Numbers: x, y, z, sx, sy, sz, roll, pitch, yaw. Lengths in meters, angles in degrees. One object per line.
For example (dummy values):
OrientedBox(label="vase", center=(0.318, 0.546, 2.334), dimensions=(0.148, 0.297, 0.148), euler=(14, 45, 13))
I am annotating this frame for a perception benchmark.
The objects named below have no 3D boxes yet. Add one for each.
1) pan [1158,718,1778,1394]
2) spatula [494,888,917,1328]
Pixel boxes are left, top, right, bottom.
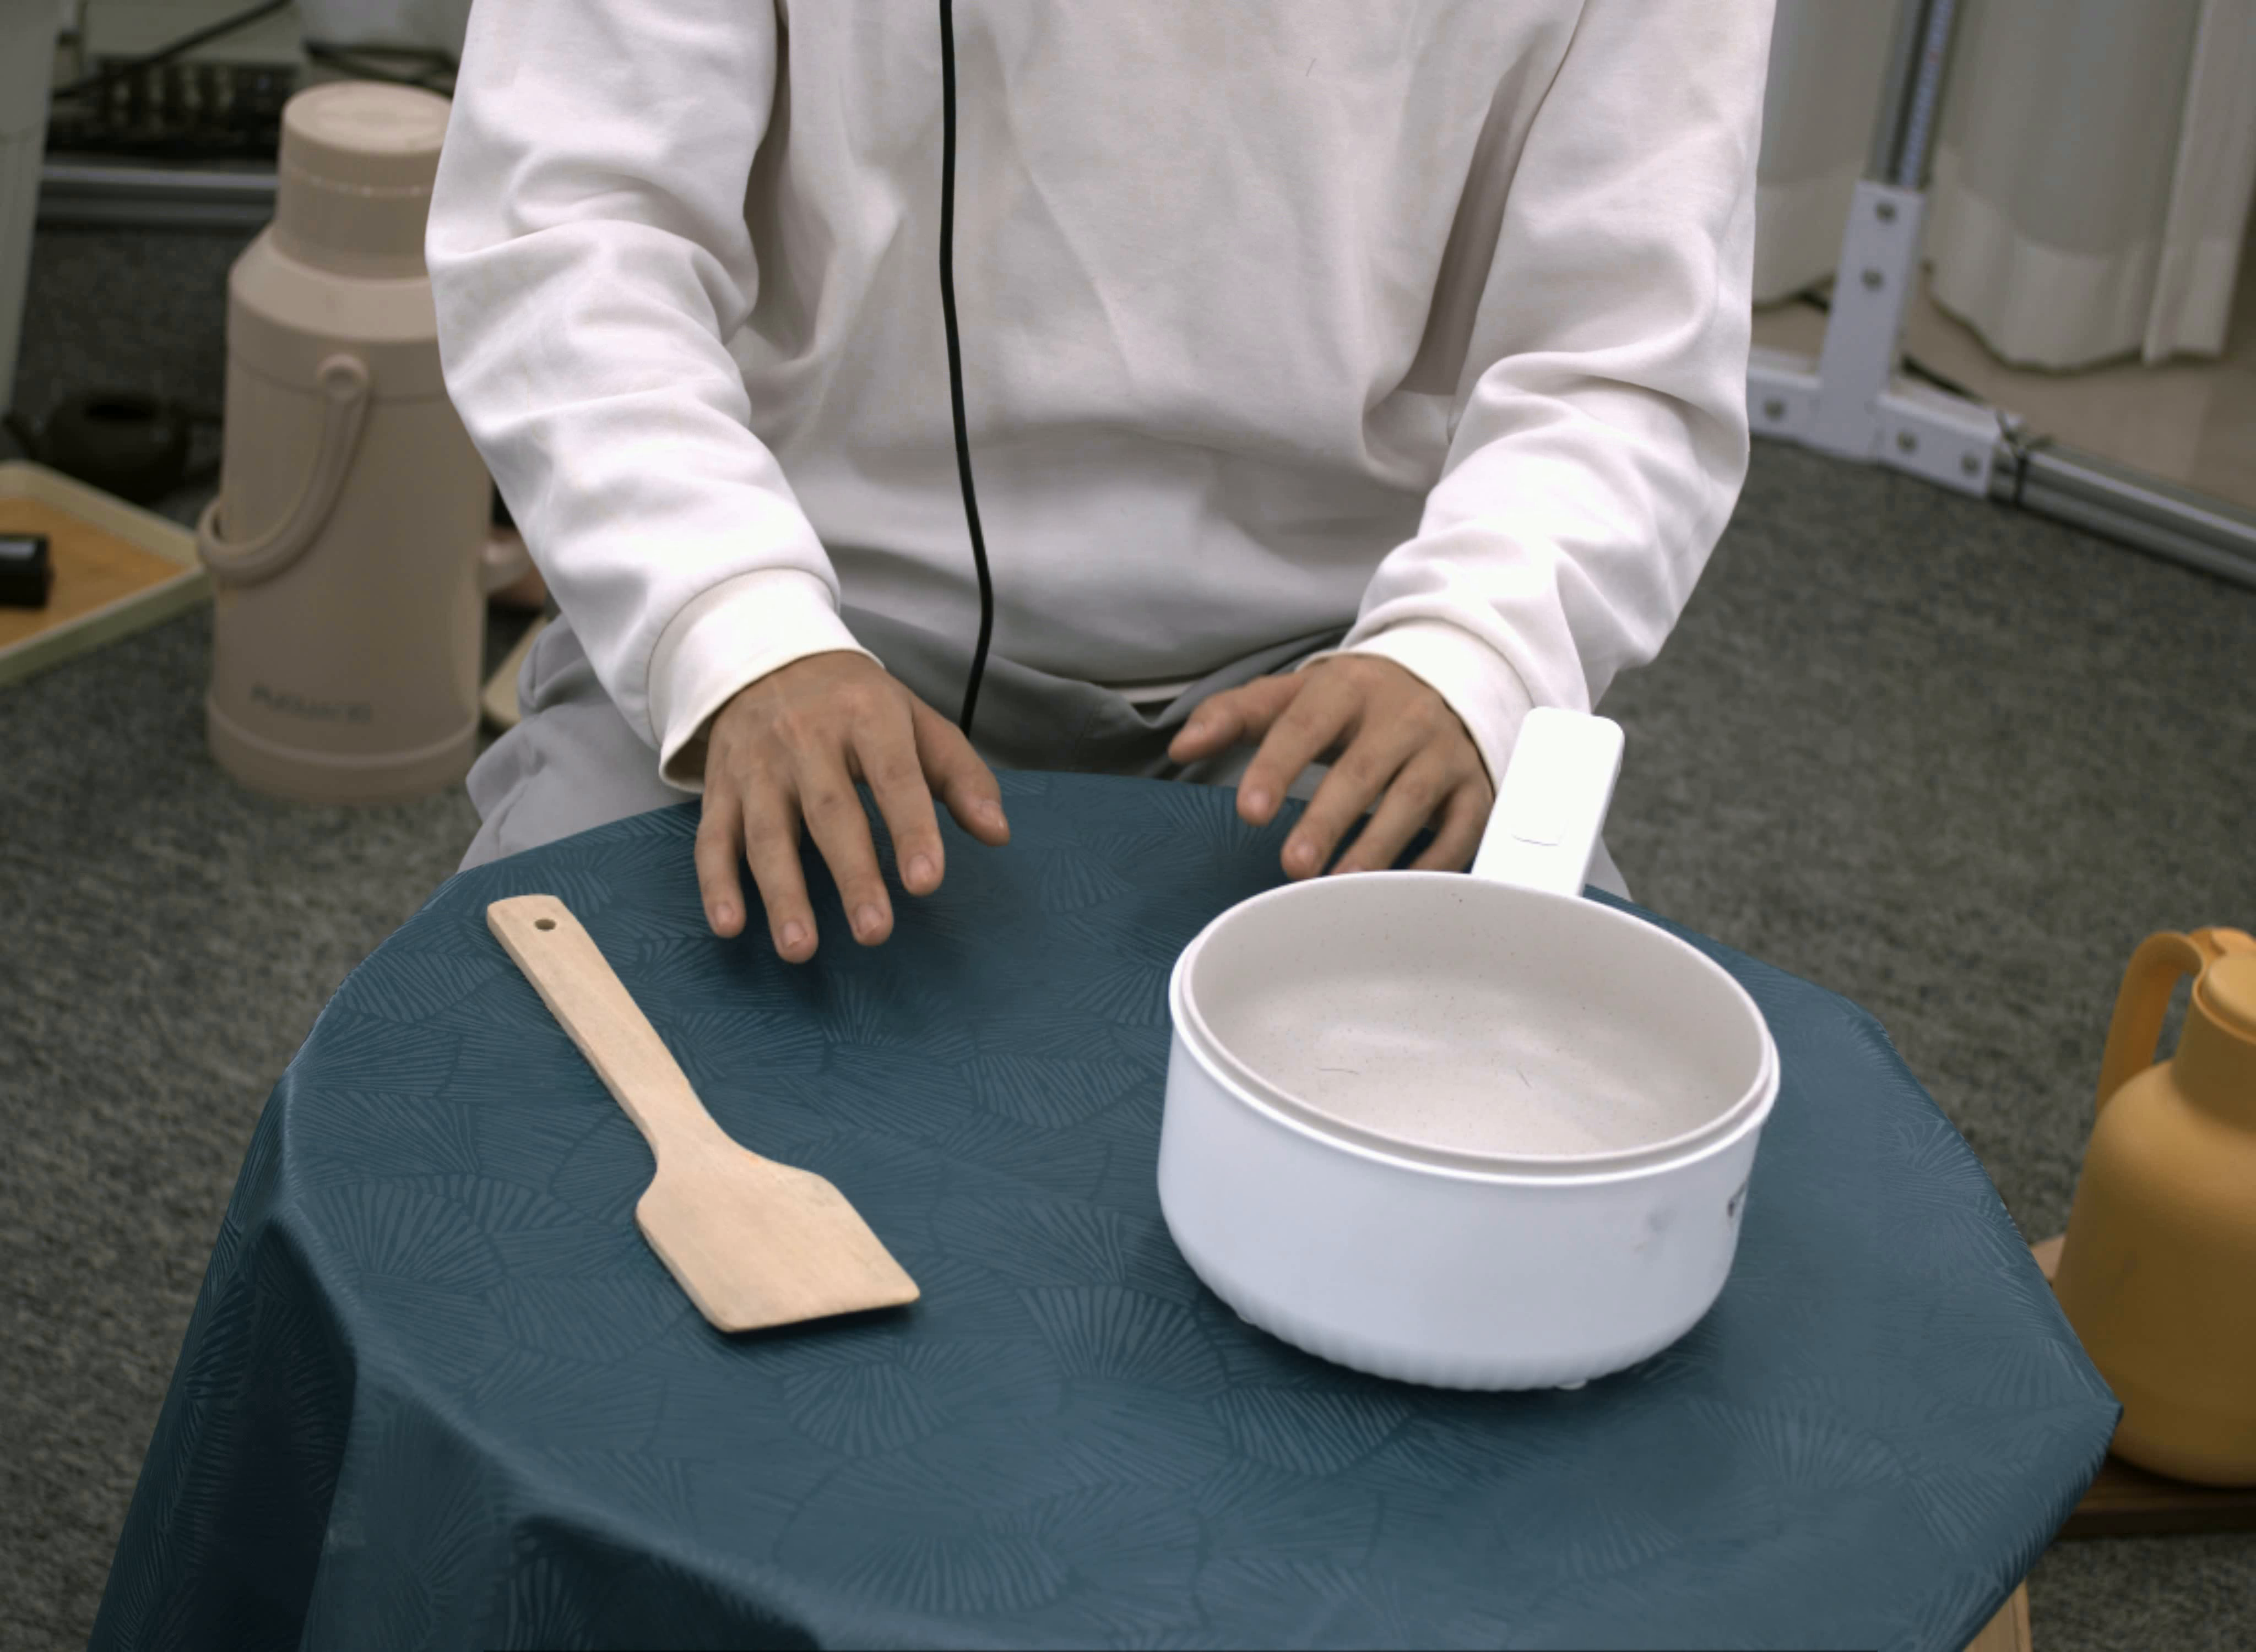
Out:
OrientedBox(label="pan", center=(0.124, 0.075, 1.828), dimensions=(0.201, 0.102, 0.356), euler=(10, 25, 8))
OrientedBox(label="spatula", center=(-0.160, 0.092, 1.821), dimensions=(0.072, 0.010, 0.296), euler=(-8, 30, -24))
